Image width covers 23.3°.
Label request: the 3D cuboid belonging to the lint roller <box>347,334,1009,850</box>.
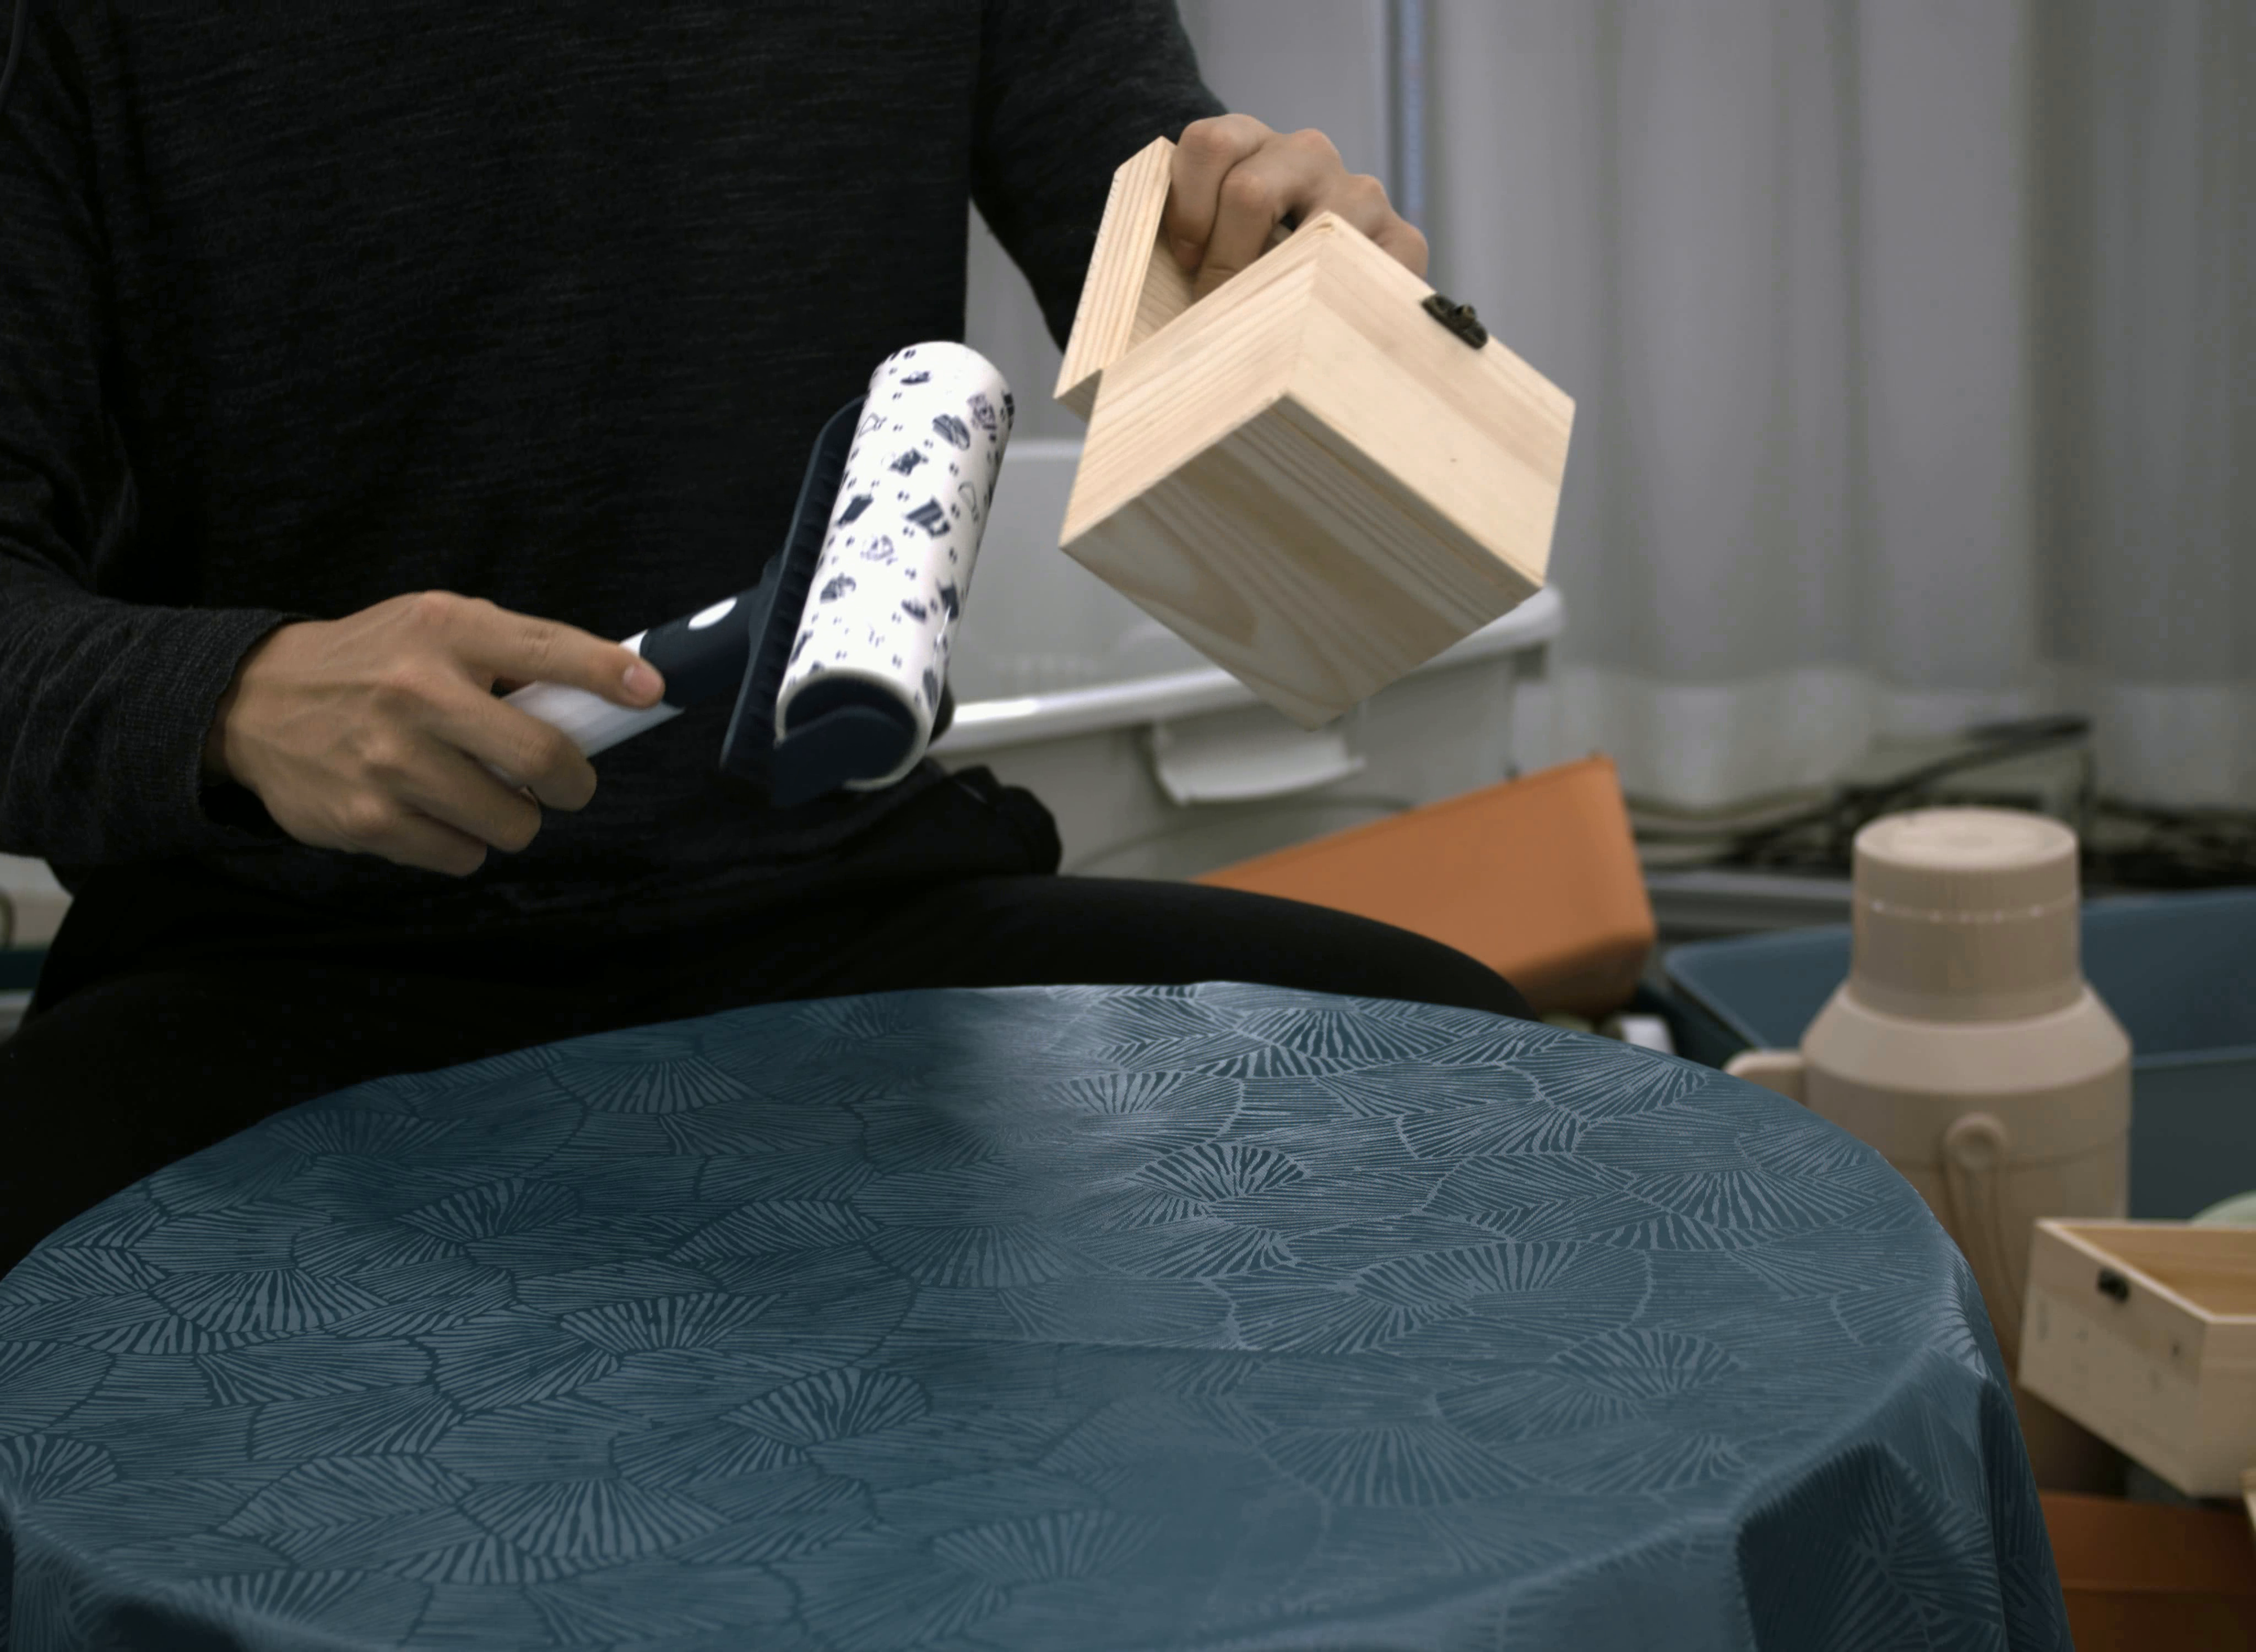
[{"bbox_3d":[-0.152,-0.050,1.712,0.246,0.050,0.179,-23,33,26],"label":"lint roller"}]

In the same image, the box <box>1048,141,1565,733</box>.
[{"bbox_3d":[0.057,-0.137,1.641,0.133,0.101,0.187,-31,31,39],"label":"box"}]
